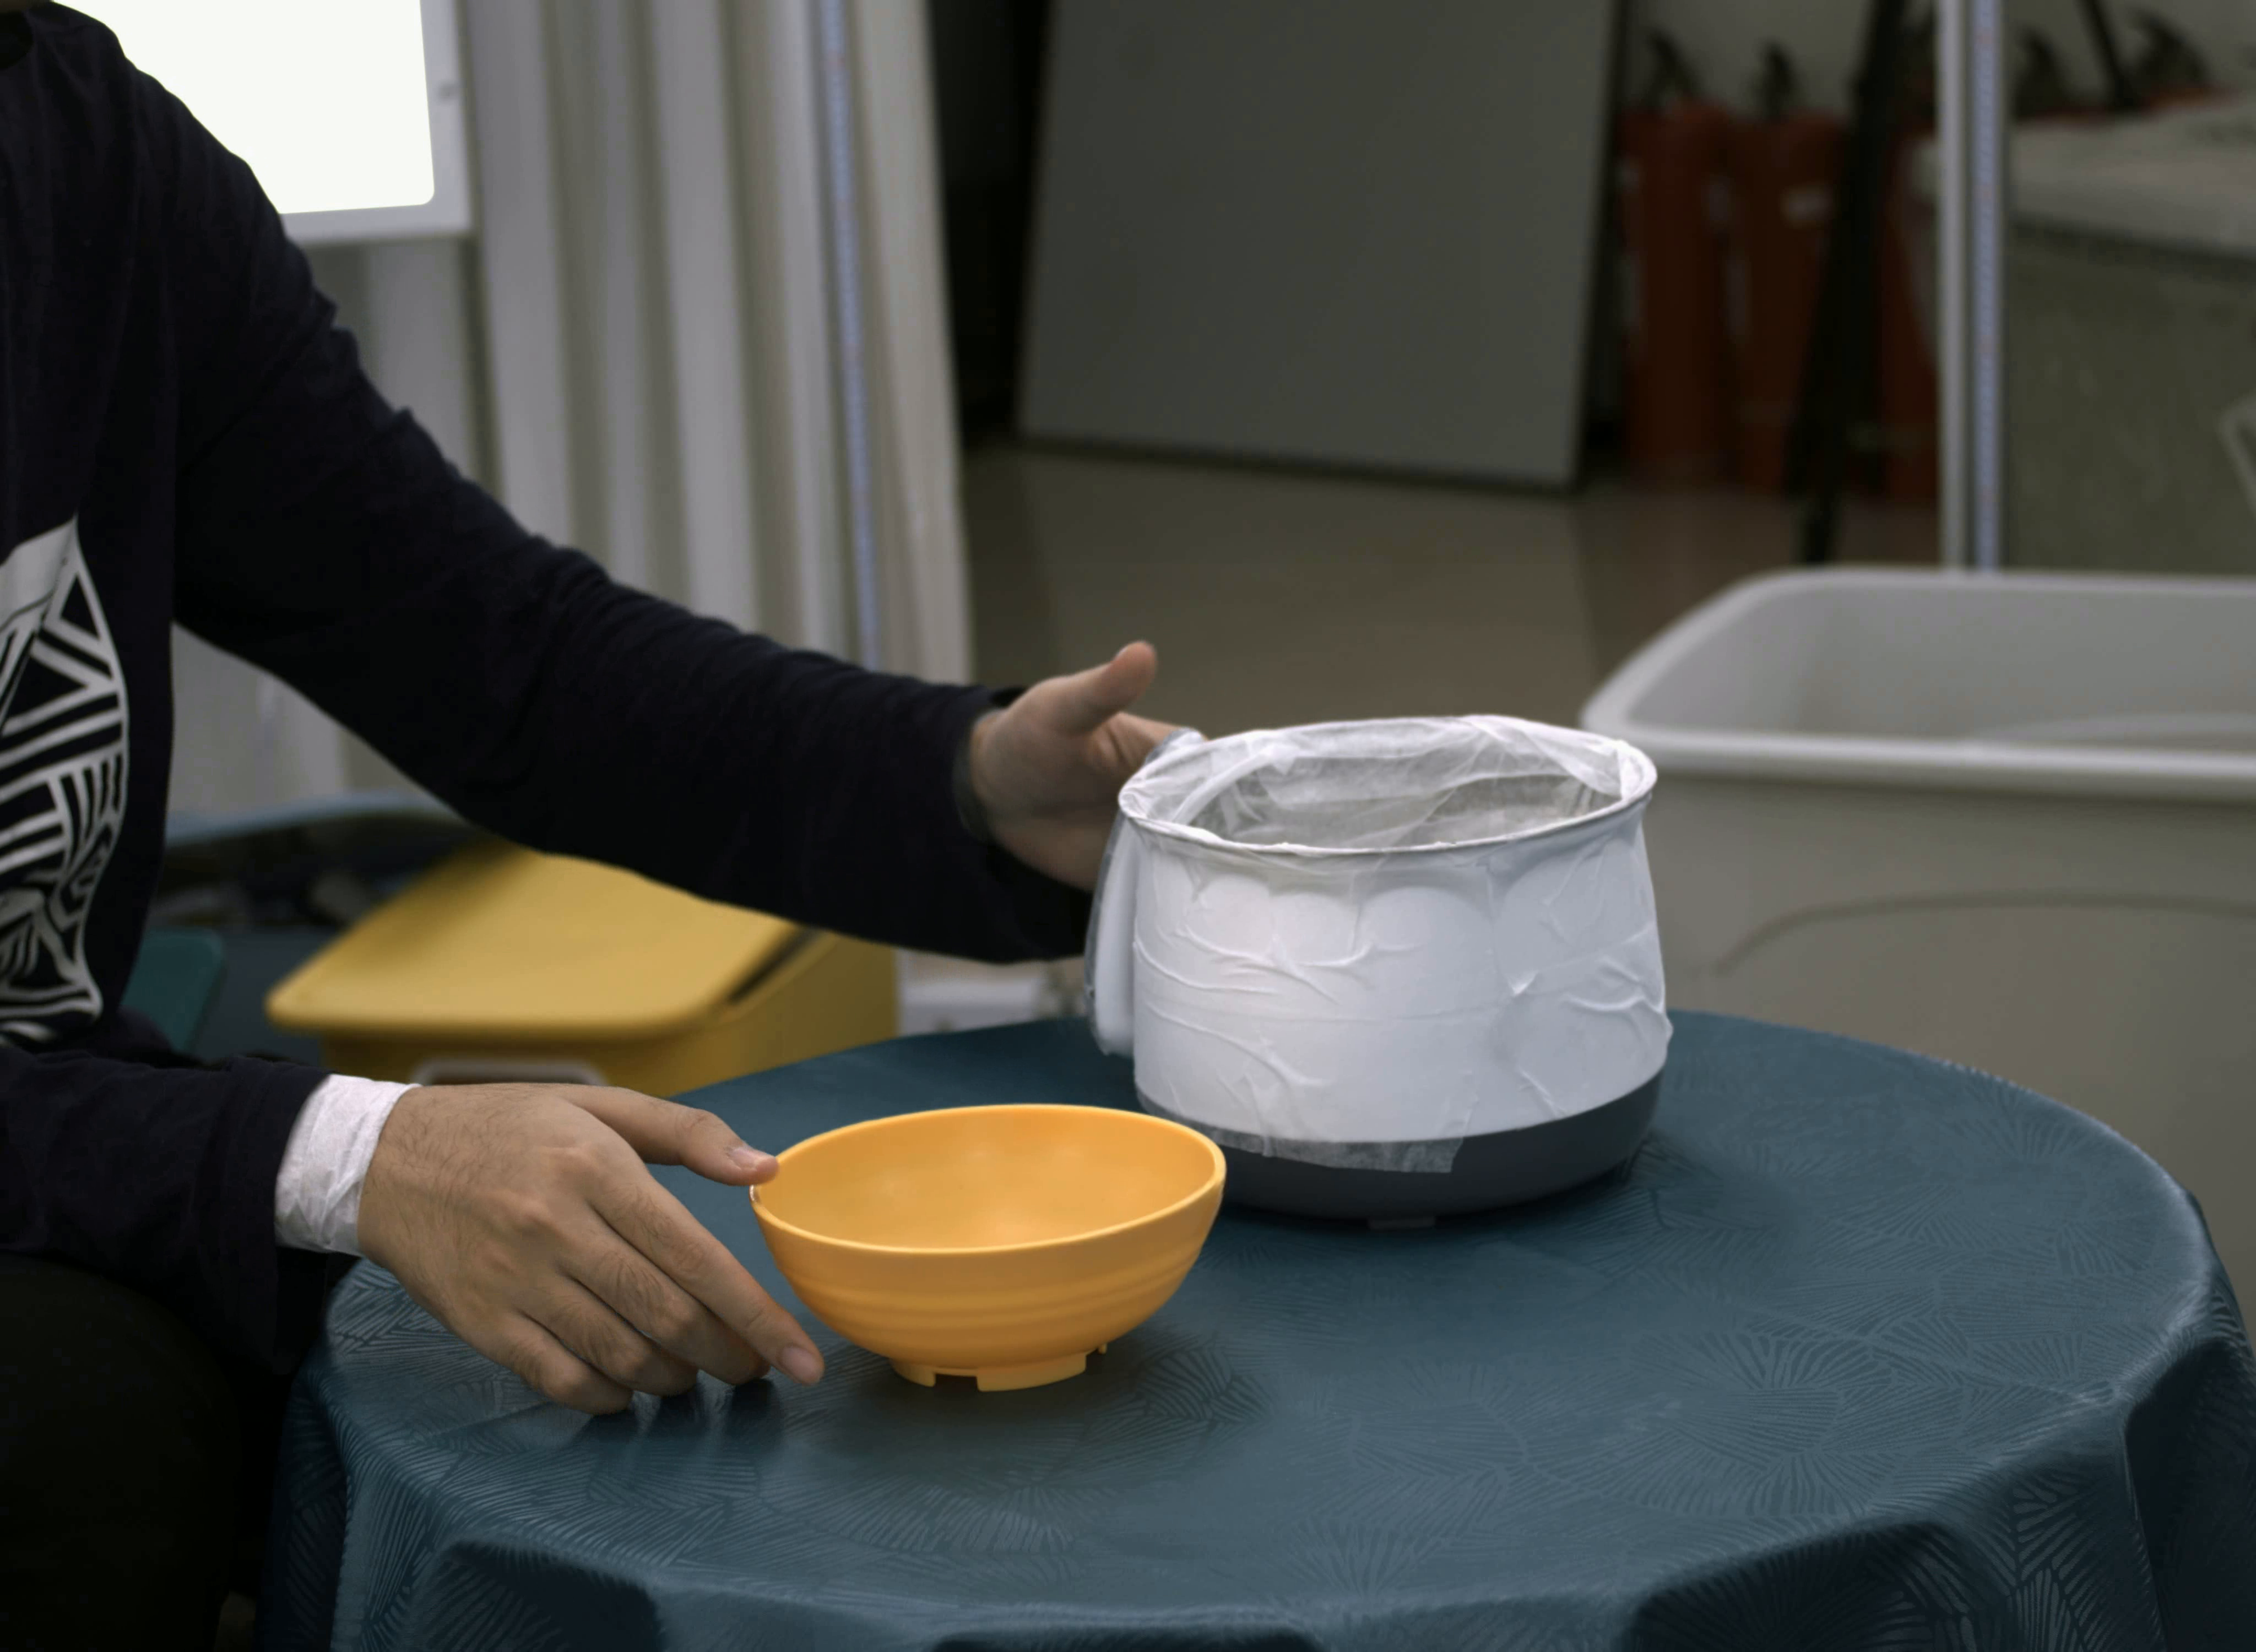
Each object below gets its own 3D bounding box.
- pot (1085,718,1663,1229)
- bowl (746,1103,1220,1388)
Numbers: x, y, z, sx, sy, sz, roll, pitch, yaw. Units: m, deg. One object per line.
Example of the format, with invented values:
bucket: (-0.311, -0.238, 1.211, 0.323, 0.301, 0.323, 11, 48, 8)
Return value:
pot: (0.069, 0.042, 1.787, 0.175, 0.138, 0.236, -12, 16, -41)
bowl: (-0.042, 0.130, 1.617, 0.143, 0.061, 0.145, -3, 13, 0)
